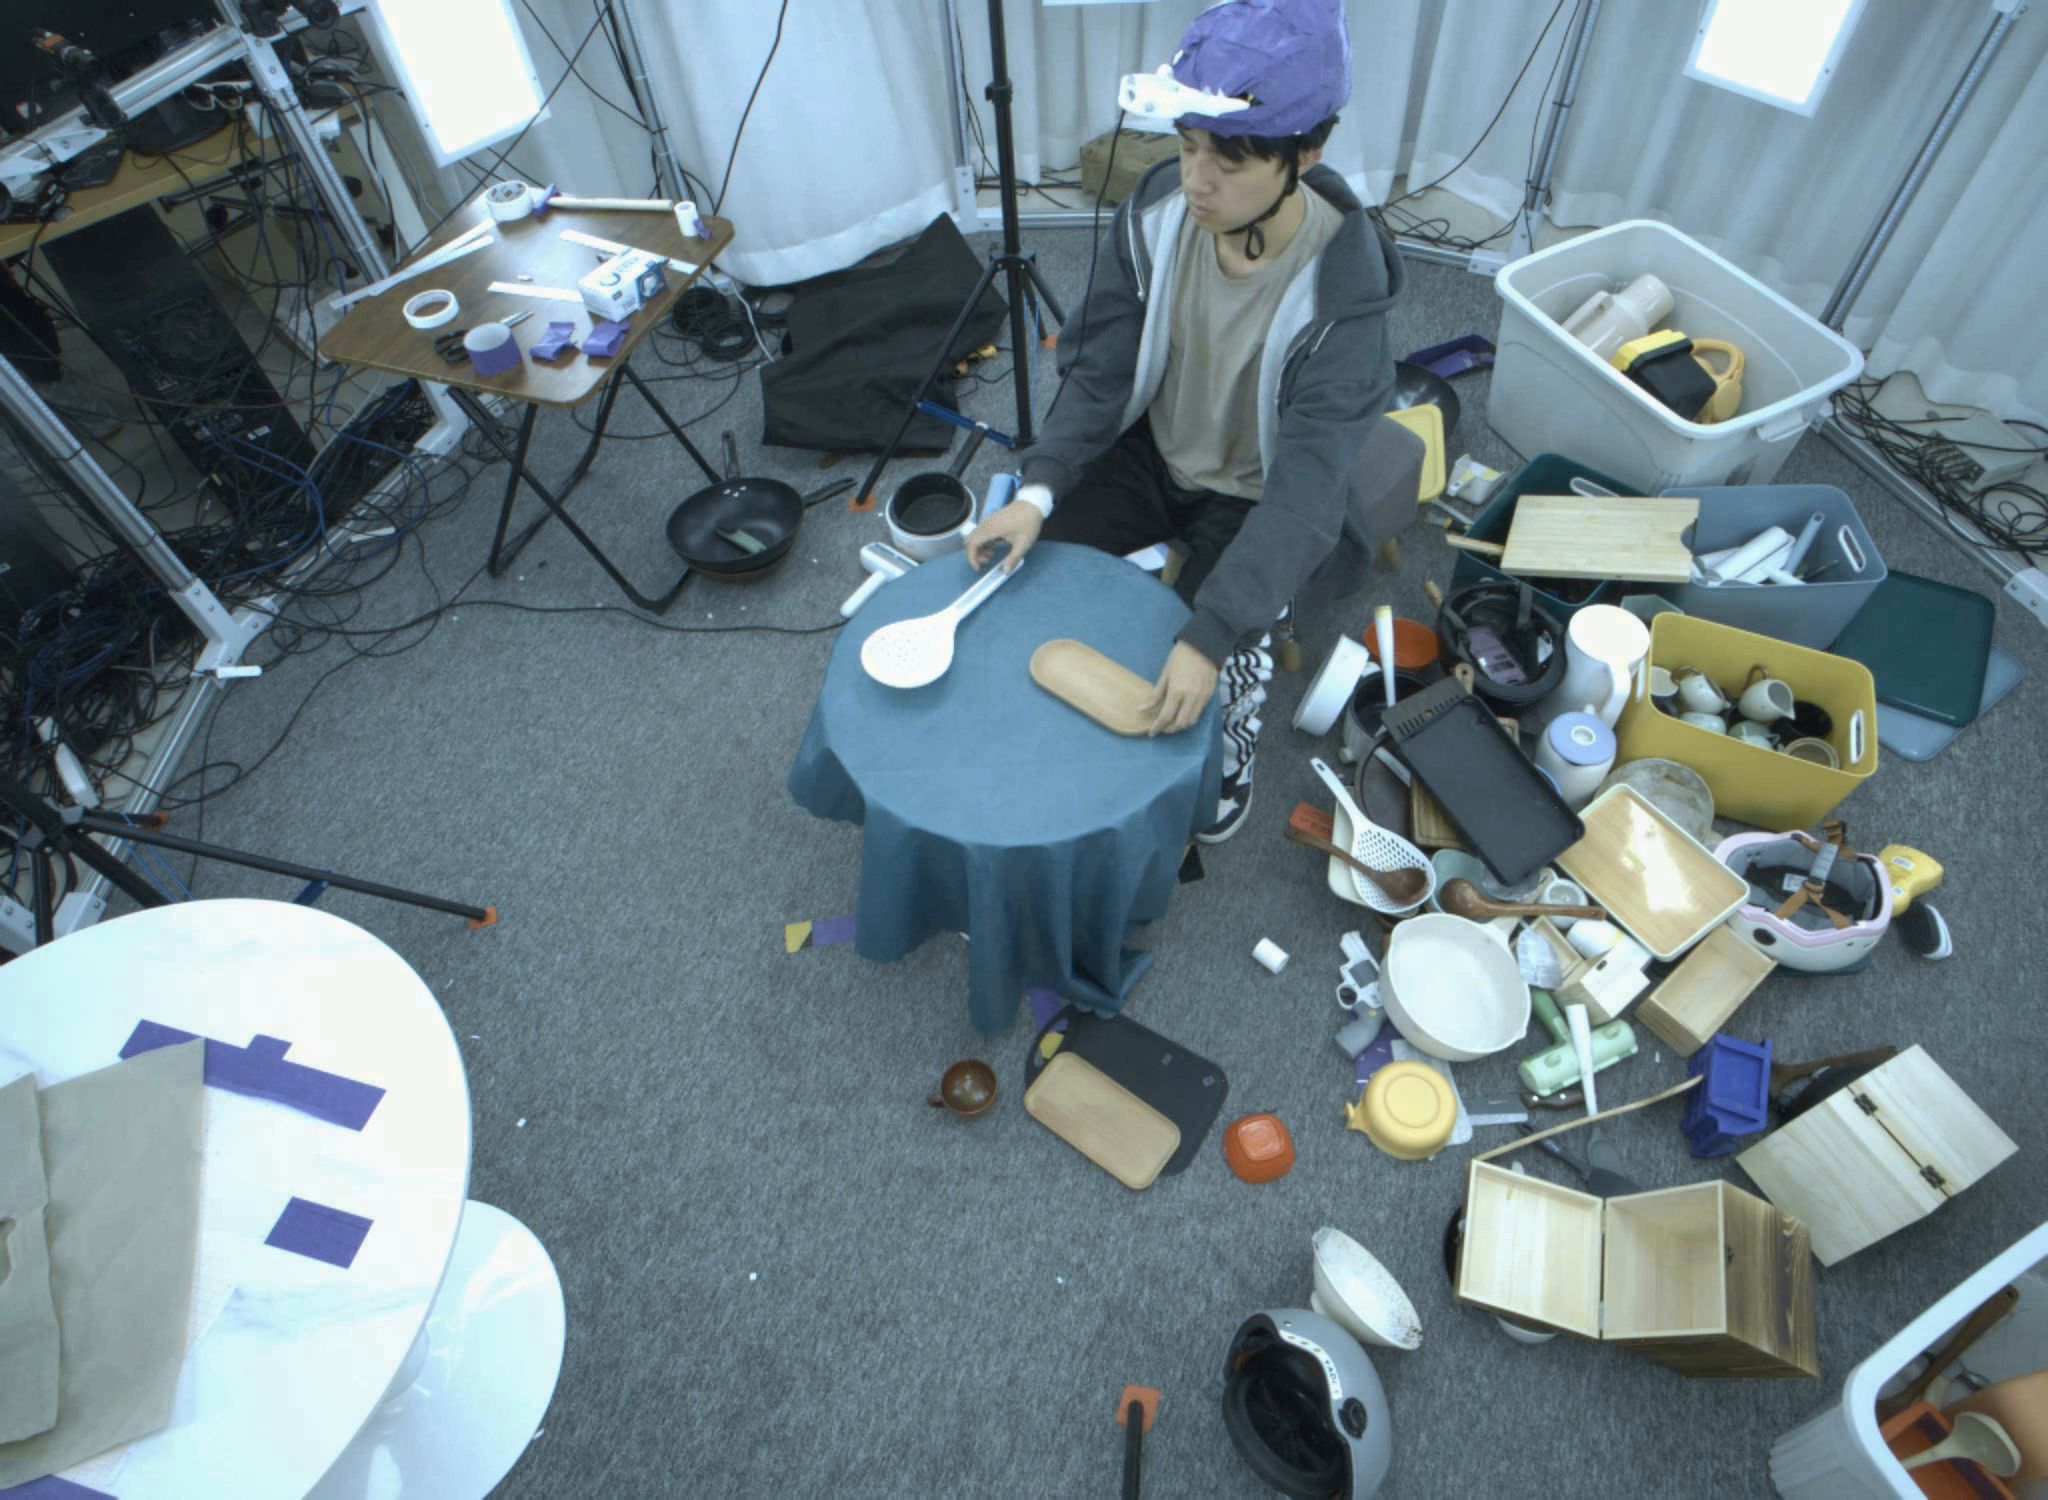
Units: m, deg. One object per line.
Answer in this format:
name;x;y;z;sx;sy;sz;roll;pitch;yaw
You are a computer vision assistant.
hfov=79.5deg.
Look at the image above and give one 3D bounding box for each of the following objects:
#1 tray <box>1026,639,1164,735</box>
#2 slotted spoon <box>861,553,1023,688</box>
tray;0.105;-0.095;1.844;0.227;0.020;0.102;31;60;23
slotted spoon;-0.115;-0.208;1.913;0.134;0.046;0.351;31;60;19
